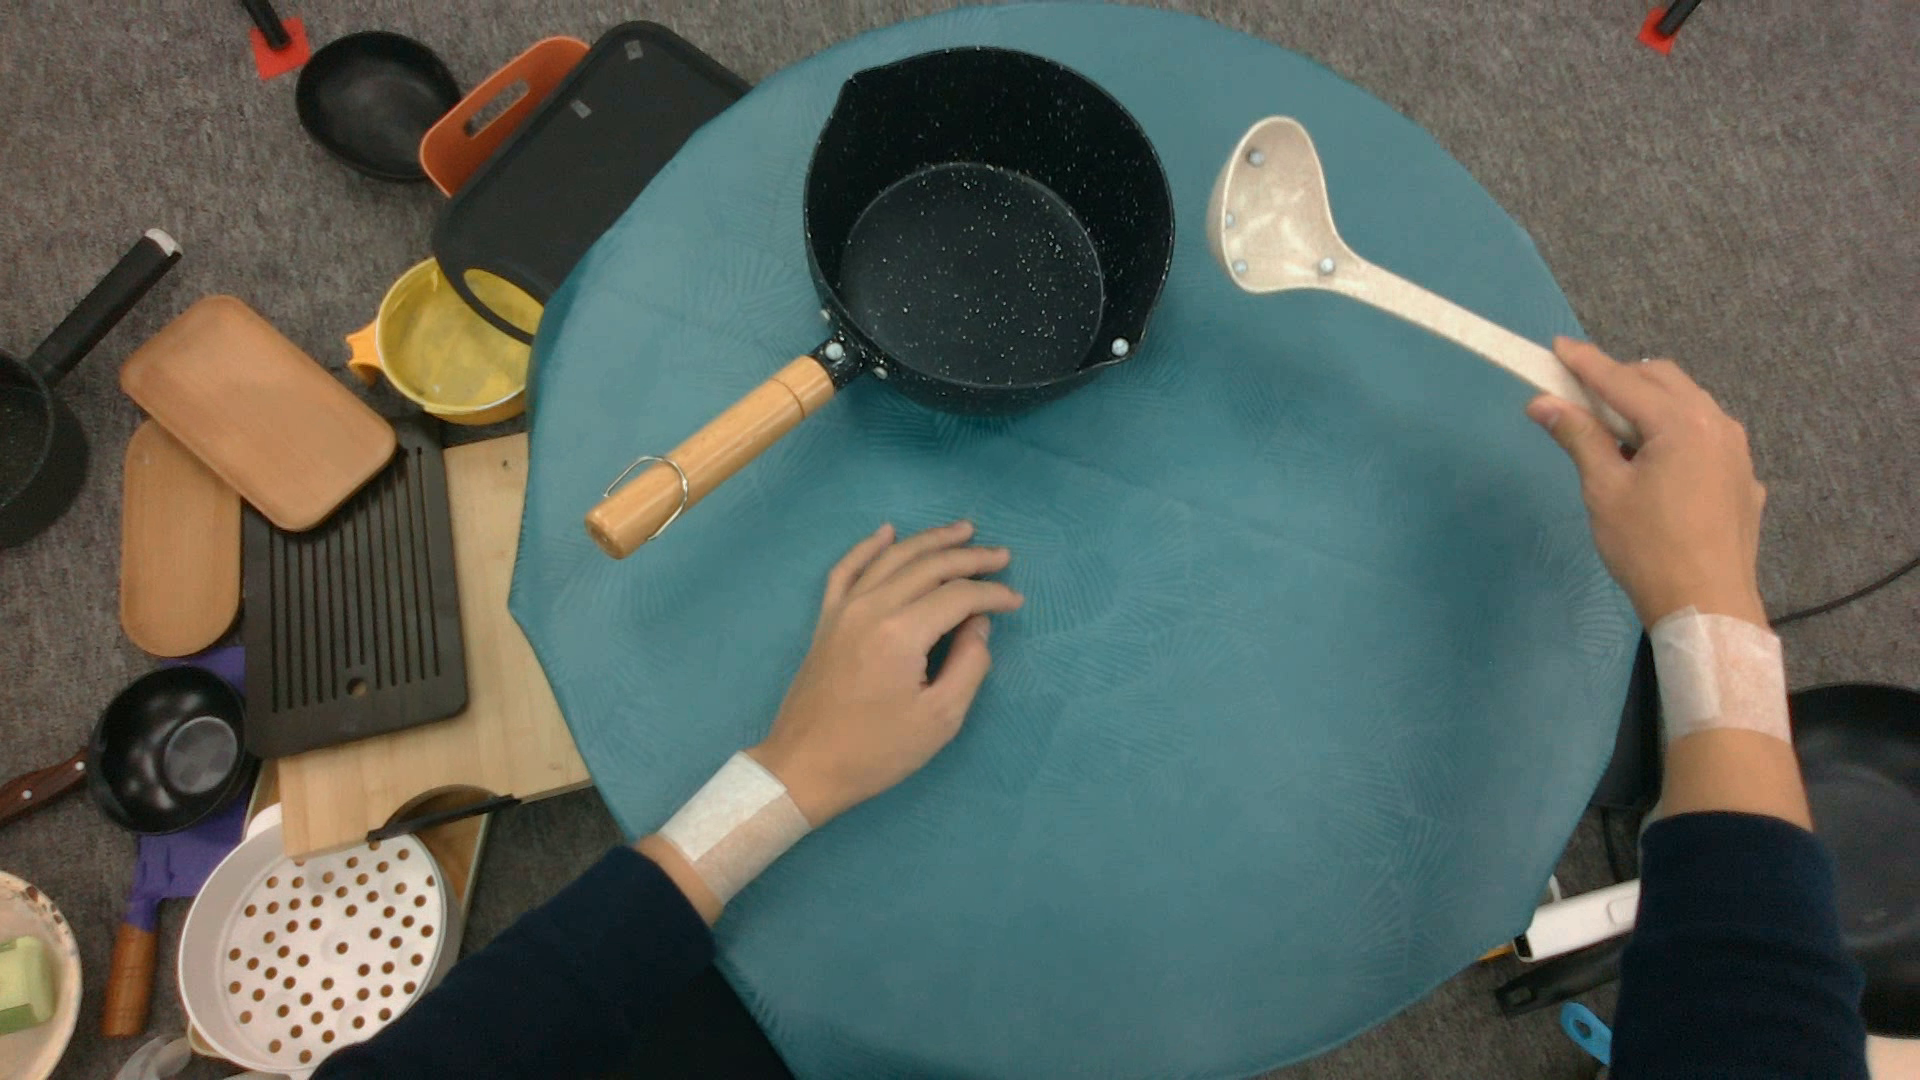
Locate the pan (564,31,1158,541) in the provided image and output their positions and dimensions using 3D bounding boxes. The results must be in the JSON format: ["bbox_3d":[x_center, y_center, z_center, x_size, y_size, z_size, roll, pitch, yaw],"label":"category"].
[{"bbox_3d":[-0.051,-0.106,0.682,0.207,0.108,0.344,44,73,4],"label":"pan"}]

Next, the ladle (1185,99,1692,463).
[{"bbox_3d":[0.235,-0.119,0.654,0.275,0.069,0.090,28,63,8],"label":"ladle"}]
